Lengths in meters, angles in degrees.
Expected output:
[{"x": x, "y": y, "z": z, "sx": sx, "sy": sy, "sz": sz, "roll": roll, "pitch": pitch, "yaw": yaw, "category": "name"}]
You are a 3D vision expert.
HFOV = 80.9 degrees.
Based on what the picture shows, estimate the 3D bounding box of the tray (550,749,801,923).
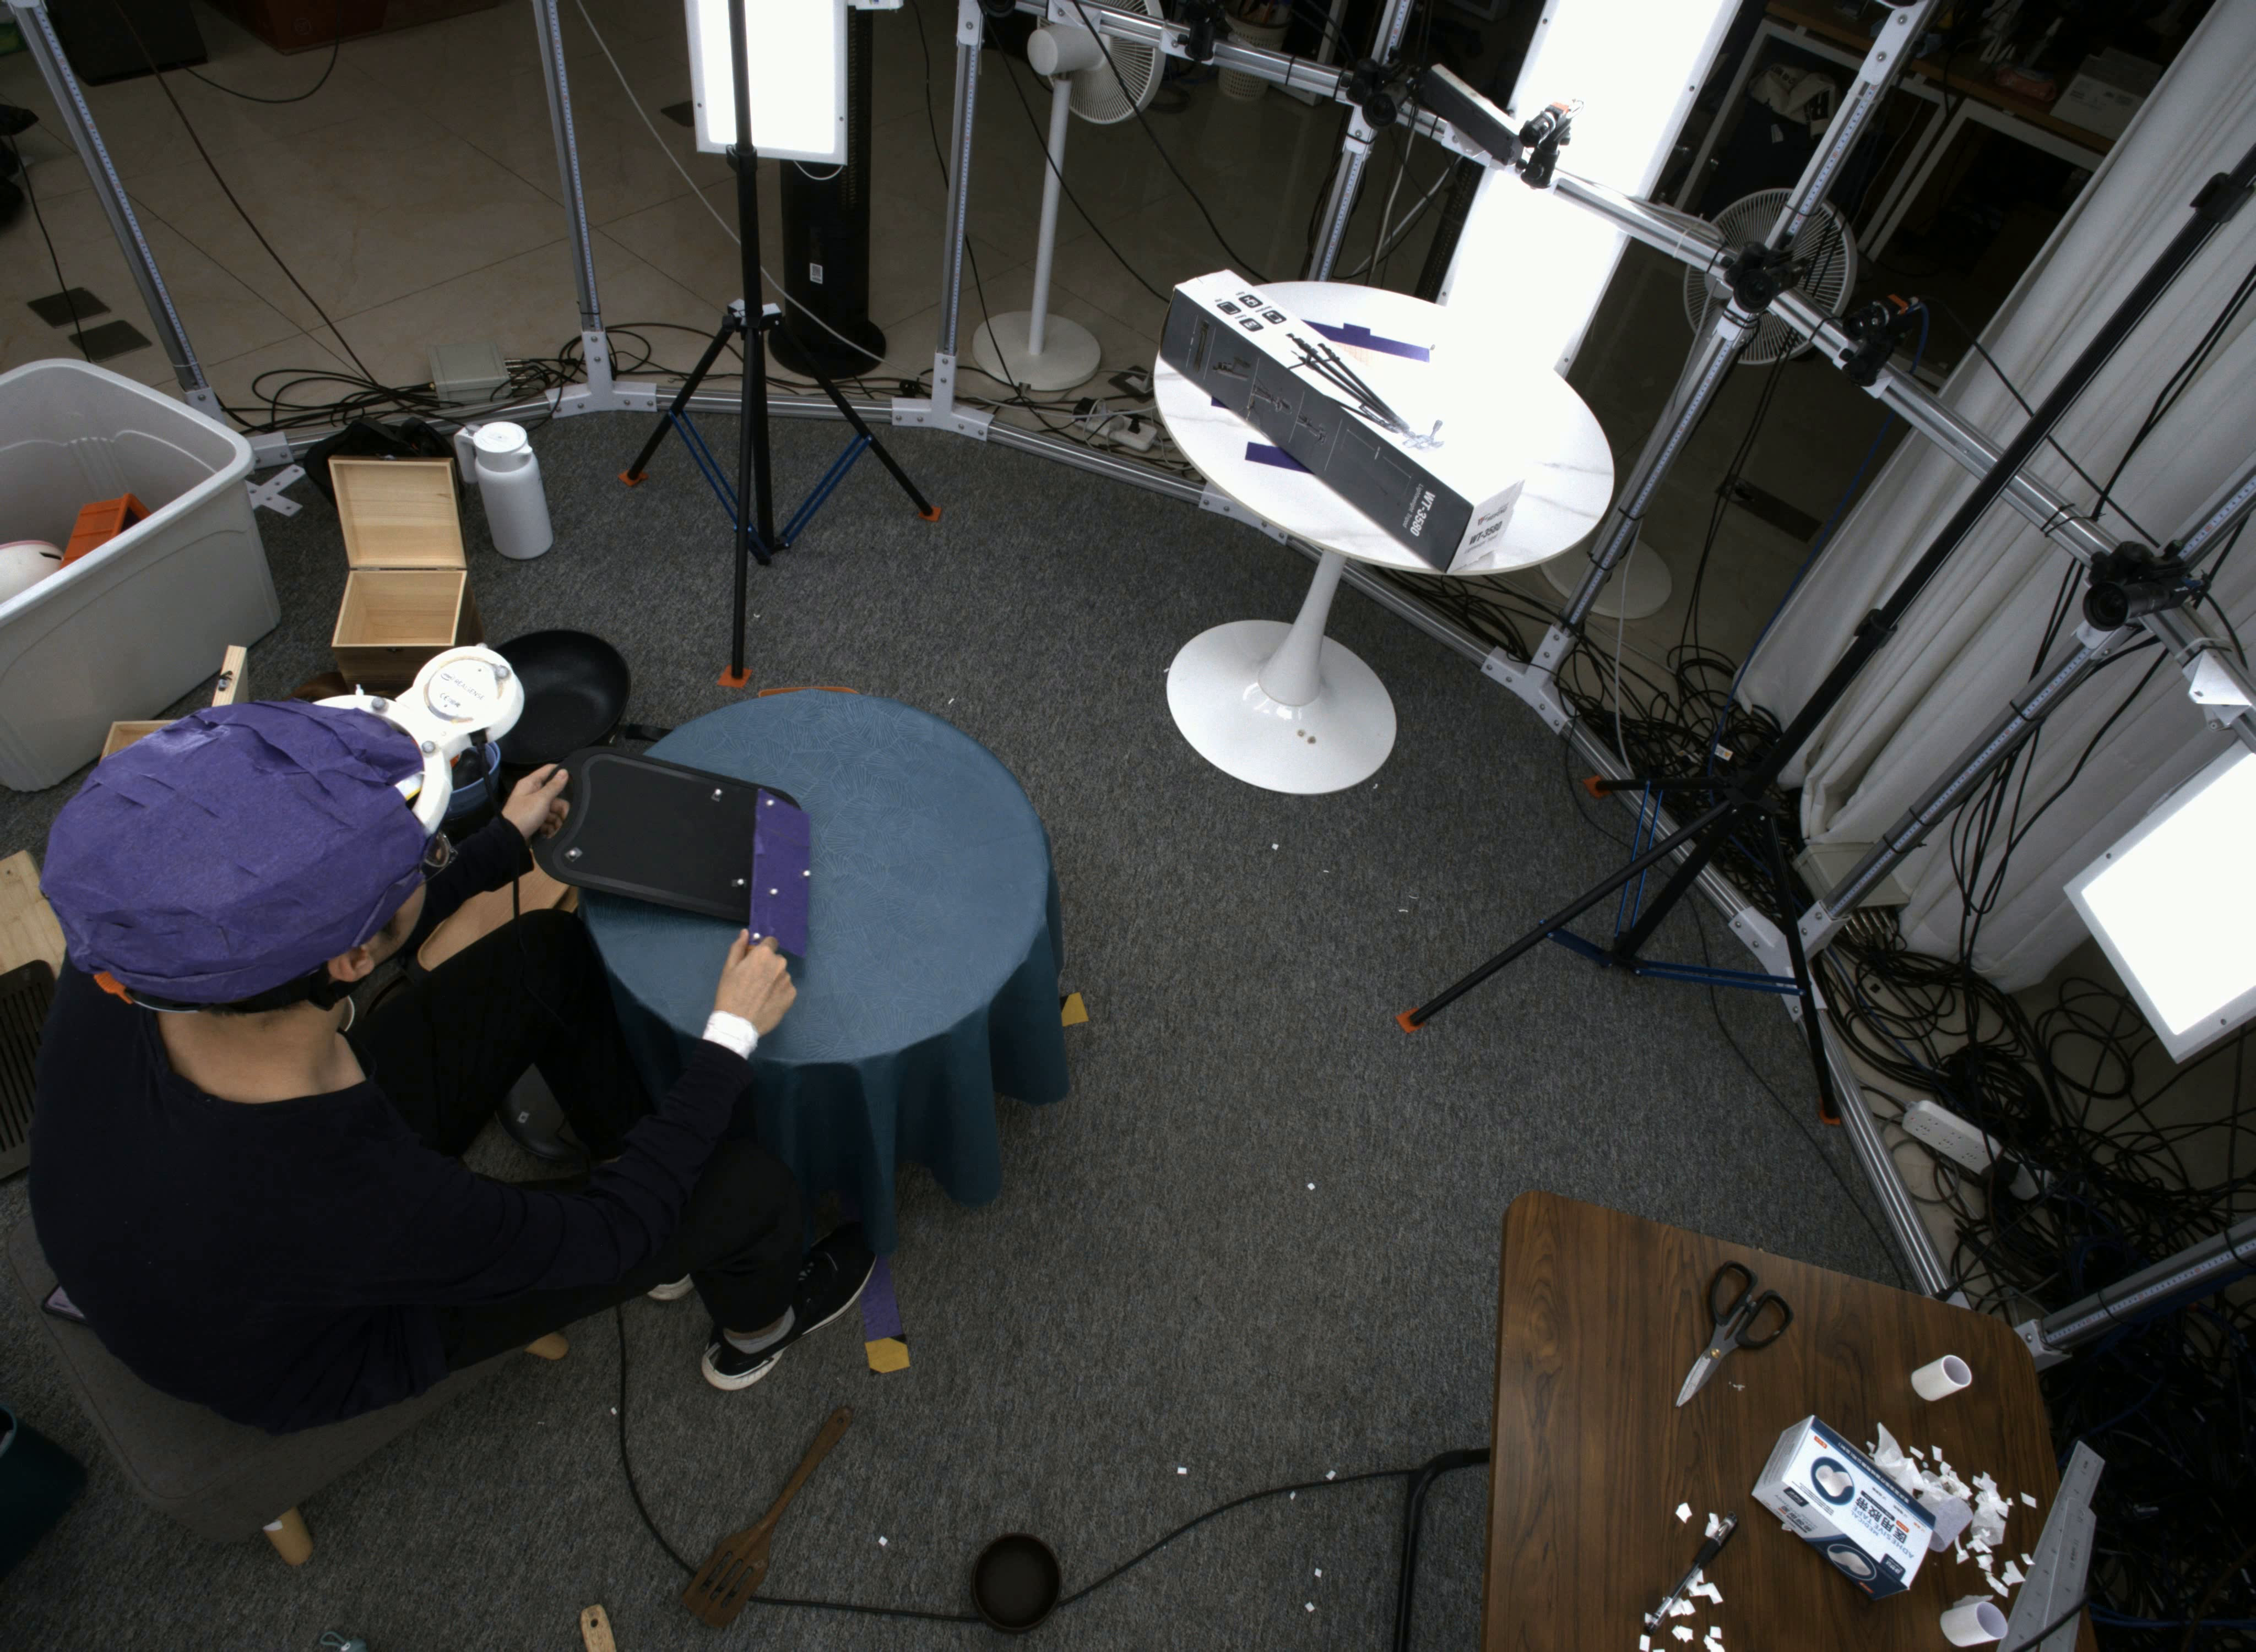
[{"x": -0.583, "y": 0.007, "z": 1.641, "sx": 0.328, "sy": 0.010, "sz": 0.208, "roll": 15, "pitch": 54, "yaw": -18, "category": "tray"}]

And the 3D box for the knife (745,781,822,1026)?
[{"x": -0.417, "y": 0.096, "z": 1.576, "sx": 0.107, "sy": 0.031, "sz": 0.311, "roll": 31, "pitch": 47, "yaw": -49, "category": "knife"}]
